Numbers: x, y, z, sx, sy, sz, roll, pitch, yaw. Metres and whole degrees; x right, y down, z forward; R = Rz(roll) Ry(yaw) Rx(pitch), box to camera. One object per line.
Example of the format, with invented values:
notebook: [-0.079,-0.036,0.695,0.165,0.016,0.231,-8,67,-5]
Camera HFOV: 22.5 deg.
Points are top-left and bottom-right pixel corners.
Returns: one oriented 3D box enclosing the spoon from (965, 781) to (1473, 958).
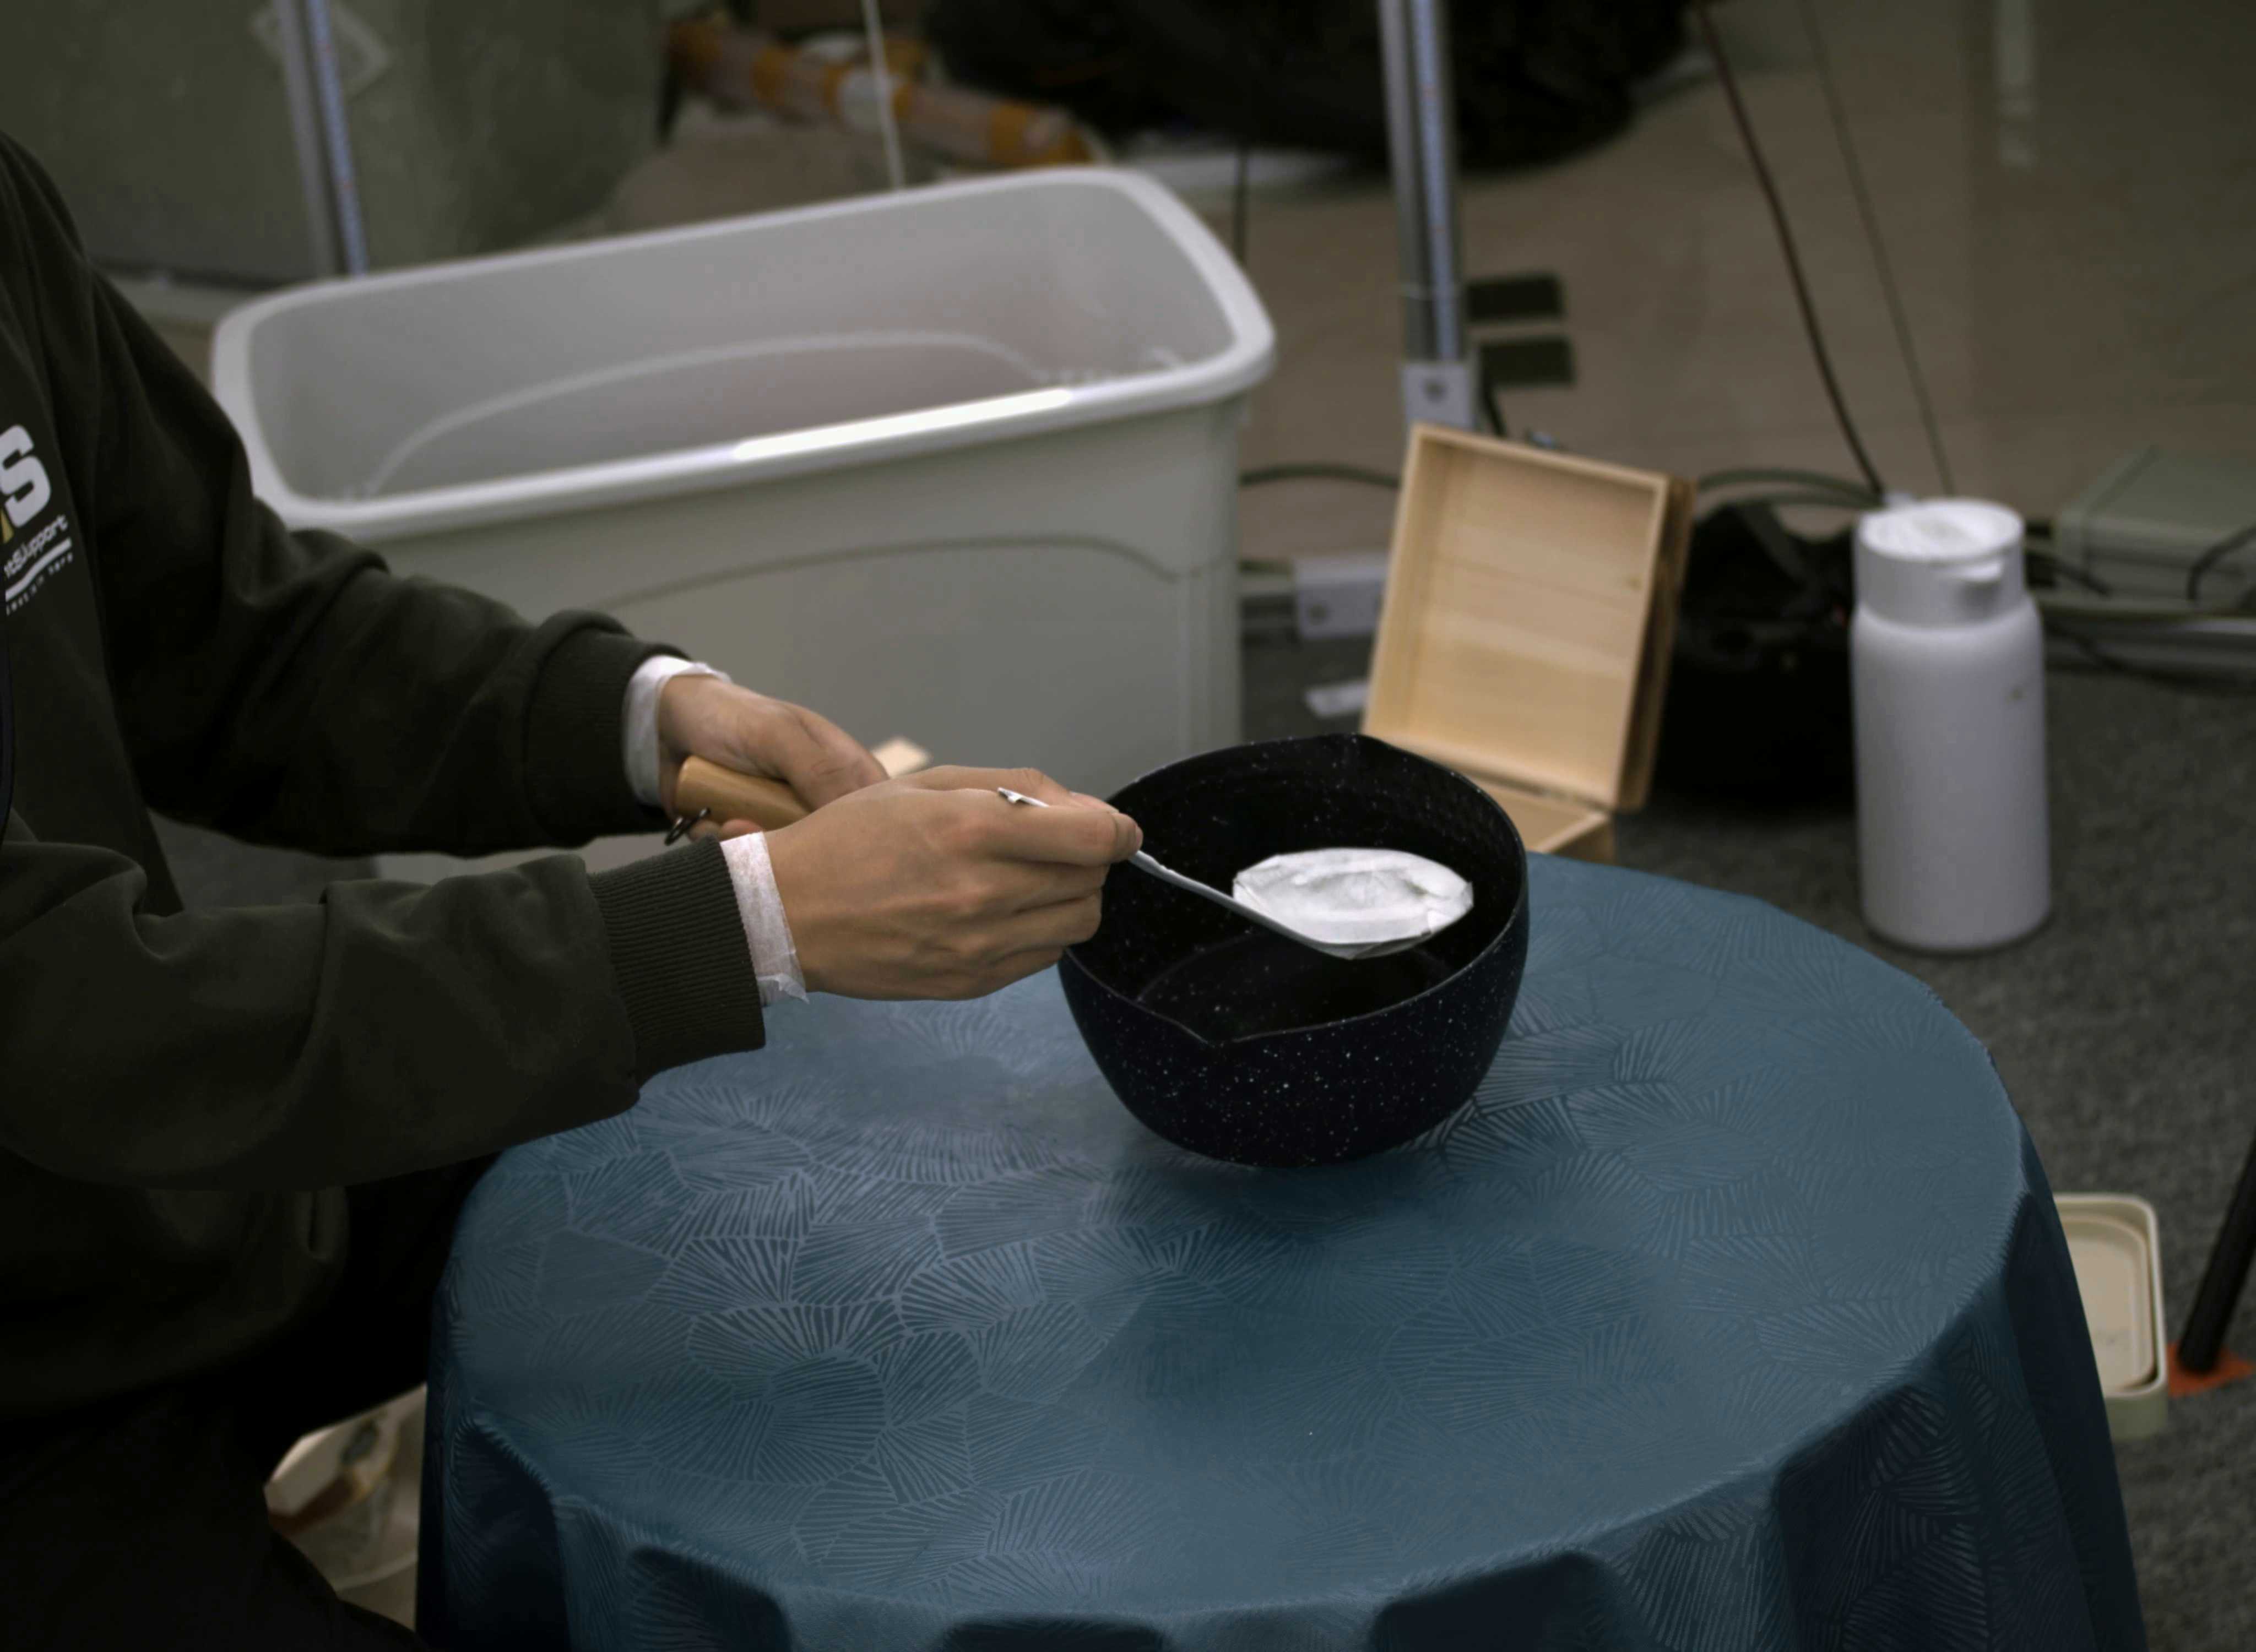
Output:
spoon: [0.028,-0.001,2.115,0.100,0.059,0.279,14,-7,38]

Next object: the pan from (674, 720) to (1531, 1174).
pan: [-0.013,0.036,2.200,0.342,0.110,0.204,7,41,14]
